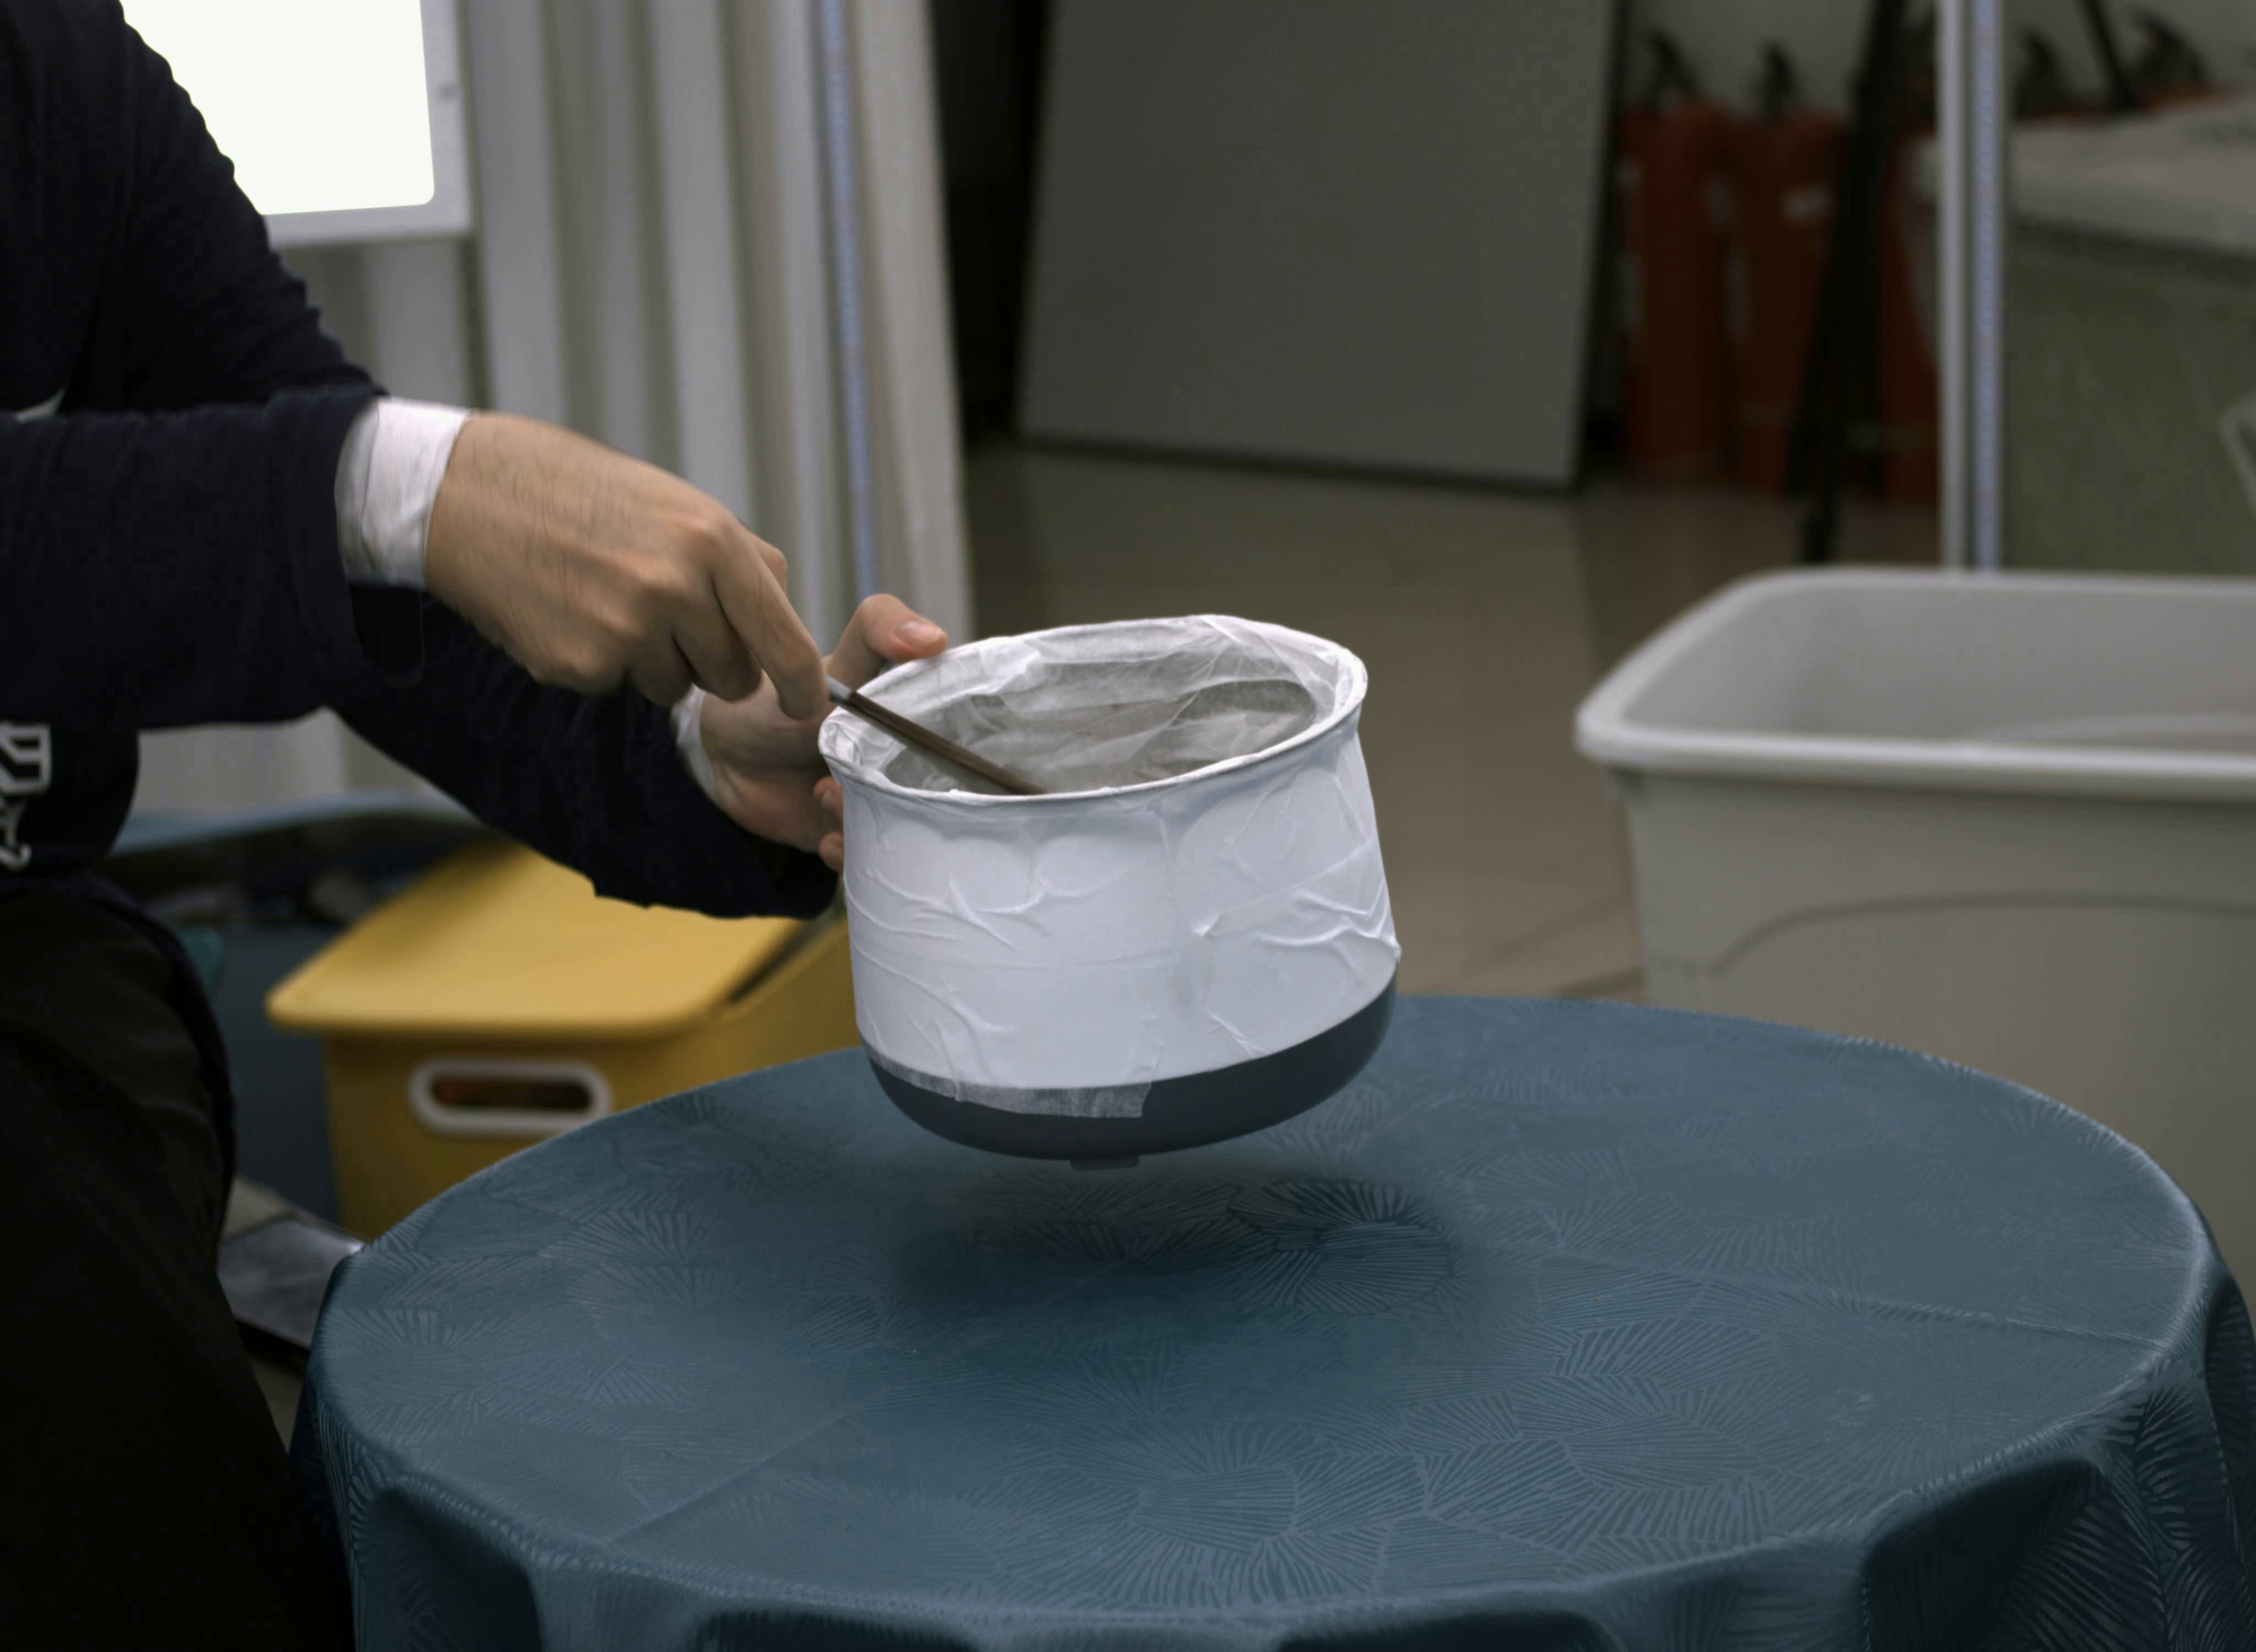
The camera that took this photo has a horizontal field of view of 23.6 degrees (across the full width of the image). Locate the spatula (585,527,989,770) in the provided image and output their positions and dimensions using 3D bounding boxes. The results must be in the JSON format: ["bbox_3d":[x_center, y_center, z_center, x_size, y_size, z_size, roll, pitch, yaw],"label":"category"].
[{"bbox_3d":[-0.080,-0.032,1.683,0.213,0.009,0.072,34,-11,-11],"label":"spatula"}]

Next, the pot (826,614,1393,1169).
[{"bbox_3d":[-0.021,0.014,1.748,0.175,0.138,0.236,-17,21,-34],"label":"pot"}]
